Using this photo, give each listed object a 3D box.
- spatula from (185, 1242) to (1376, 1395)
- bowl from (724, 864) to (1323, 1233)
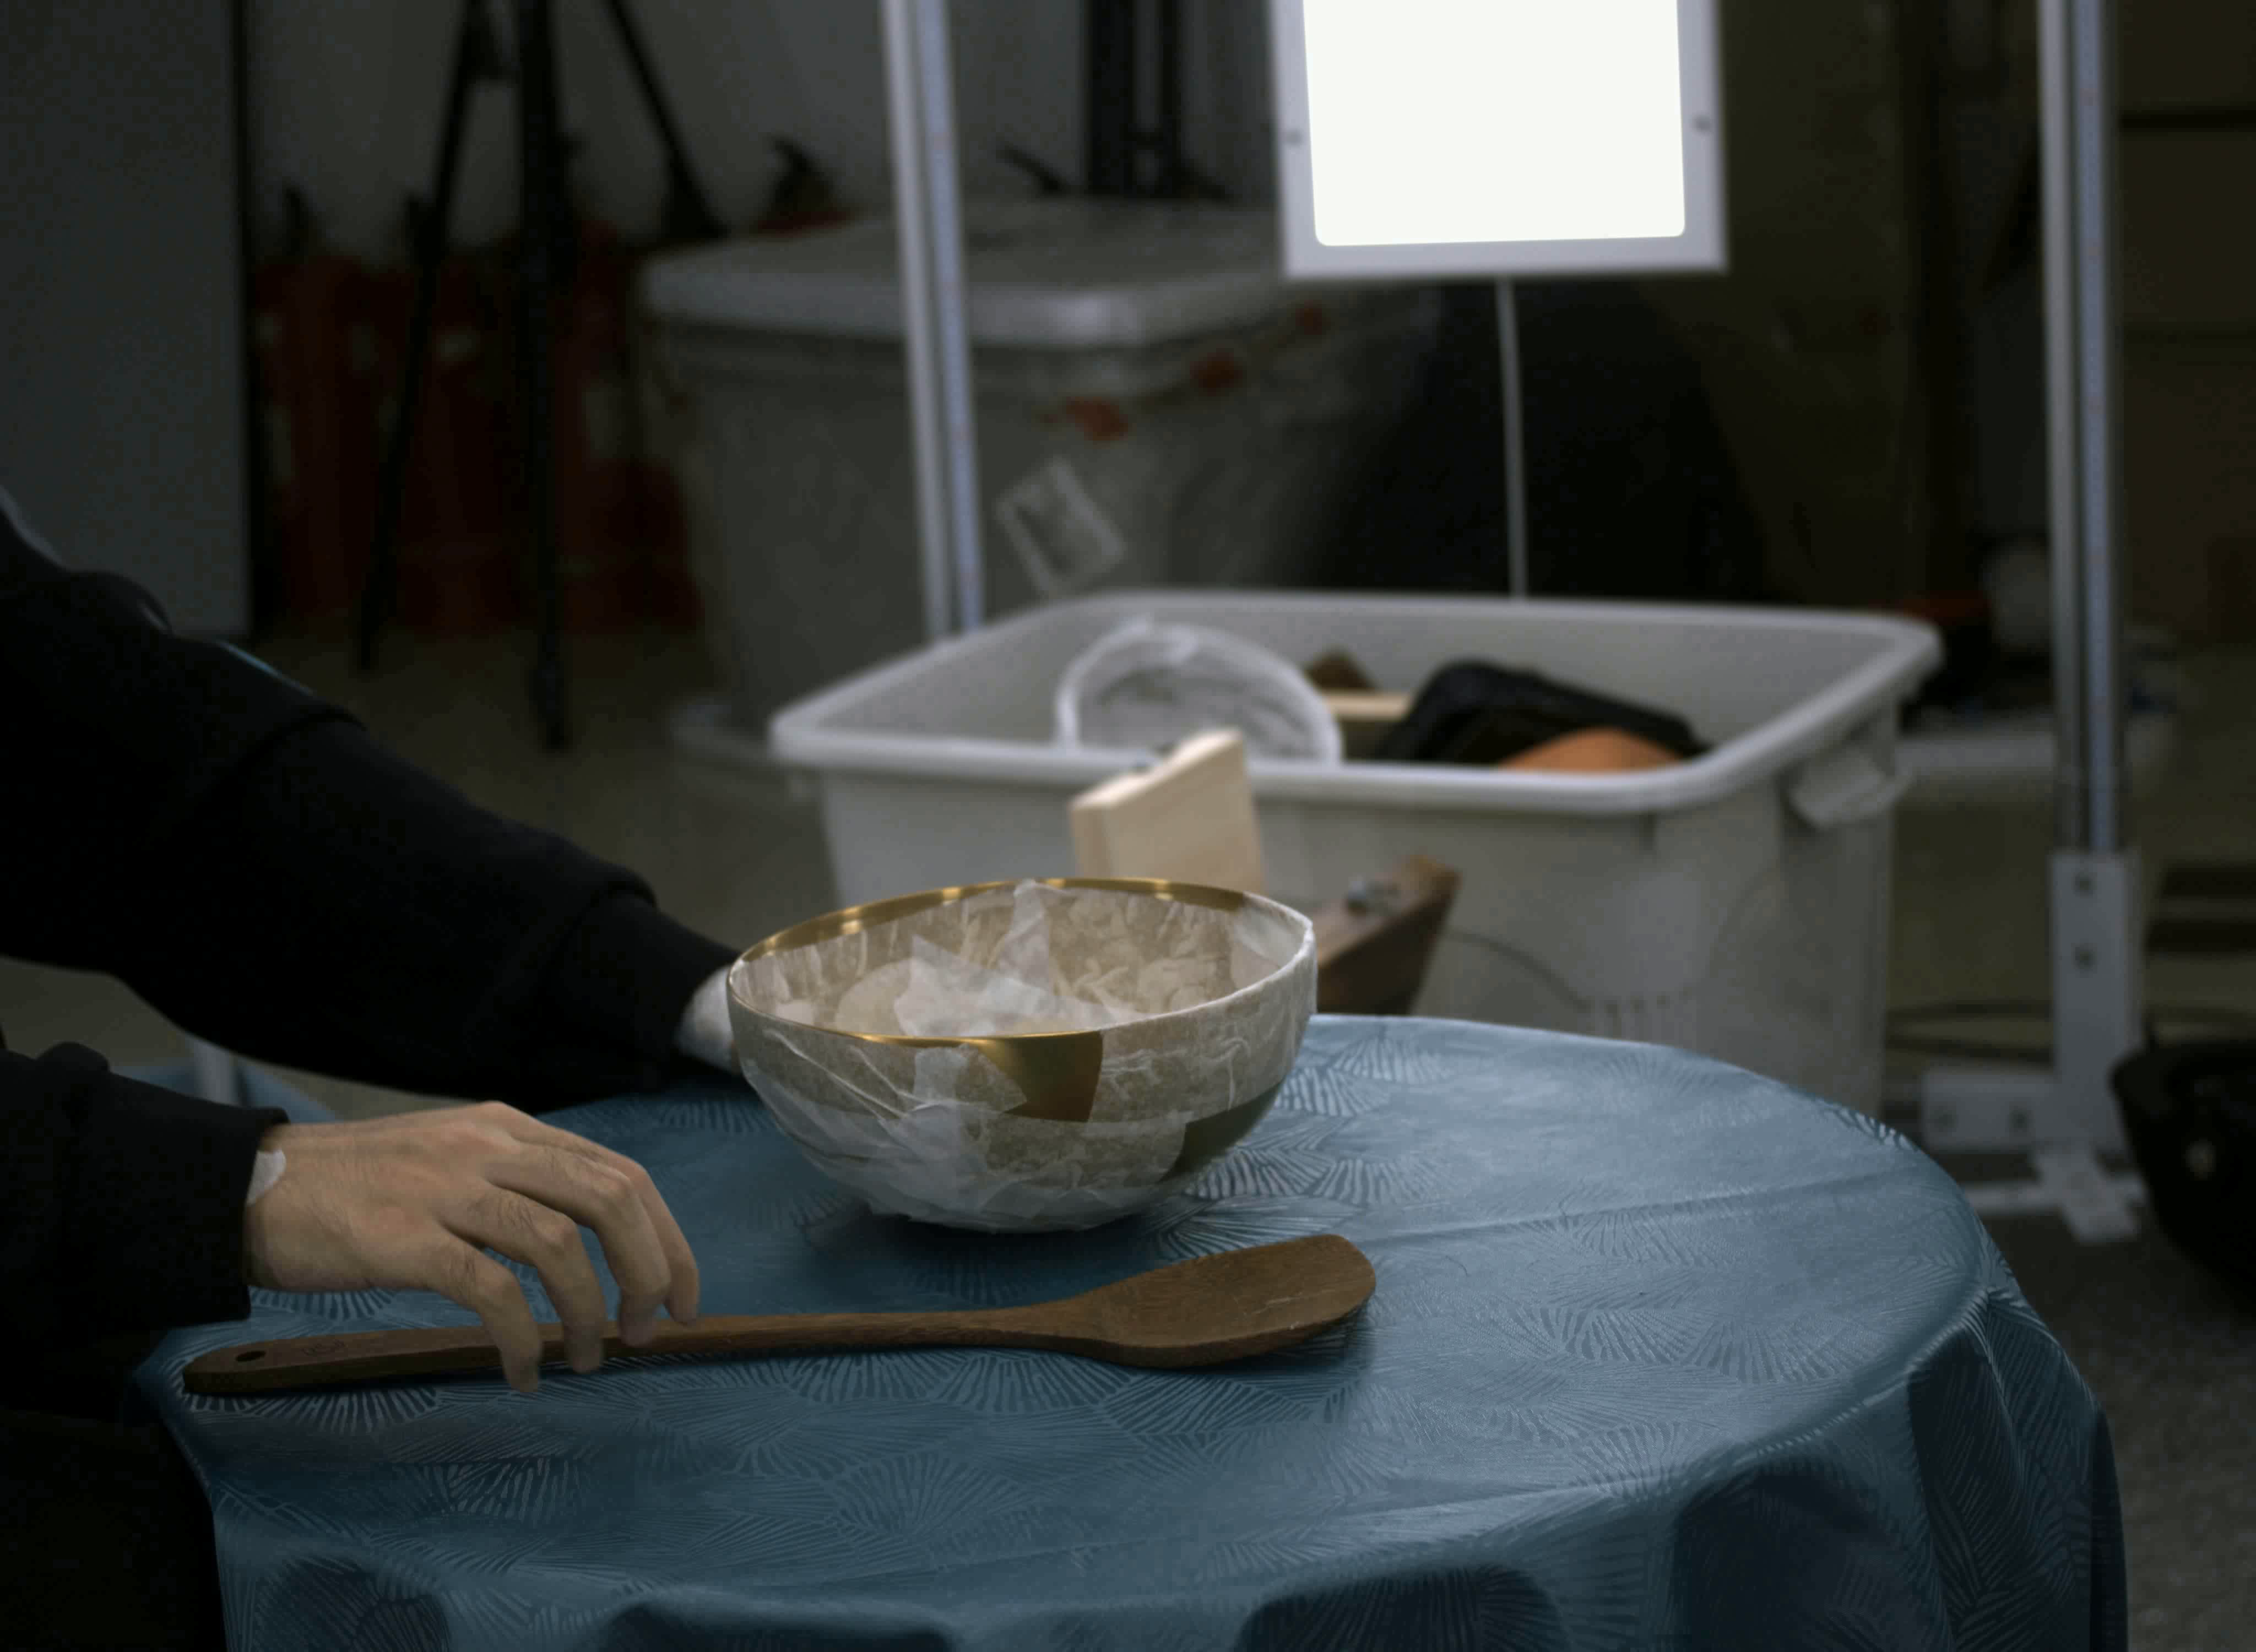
[{"bbox_3d":[-0.112,0.162,1.764,0.386,0.016,0.095,-4,13,6],"label":"spatula"},{"bbox_3d":[-0.034,0.083,1.885,0.214,0.095,0.214,-6,15,0],"label":"bowl"}]
